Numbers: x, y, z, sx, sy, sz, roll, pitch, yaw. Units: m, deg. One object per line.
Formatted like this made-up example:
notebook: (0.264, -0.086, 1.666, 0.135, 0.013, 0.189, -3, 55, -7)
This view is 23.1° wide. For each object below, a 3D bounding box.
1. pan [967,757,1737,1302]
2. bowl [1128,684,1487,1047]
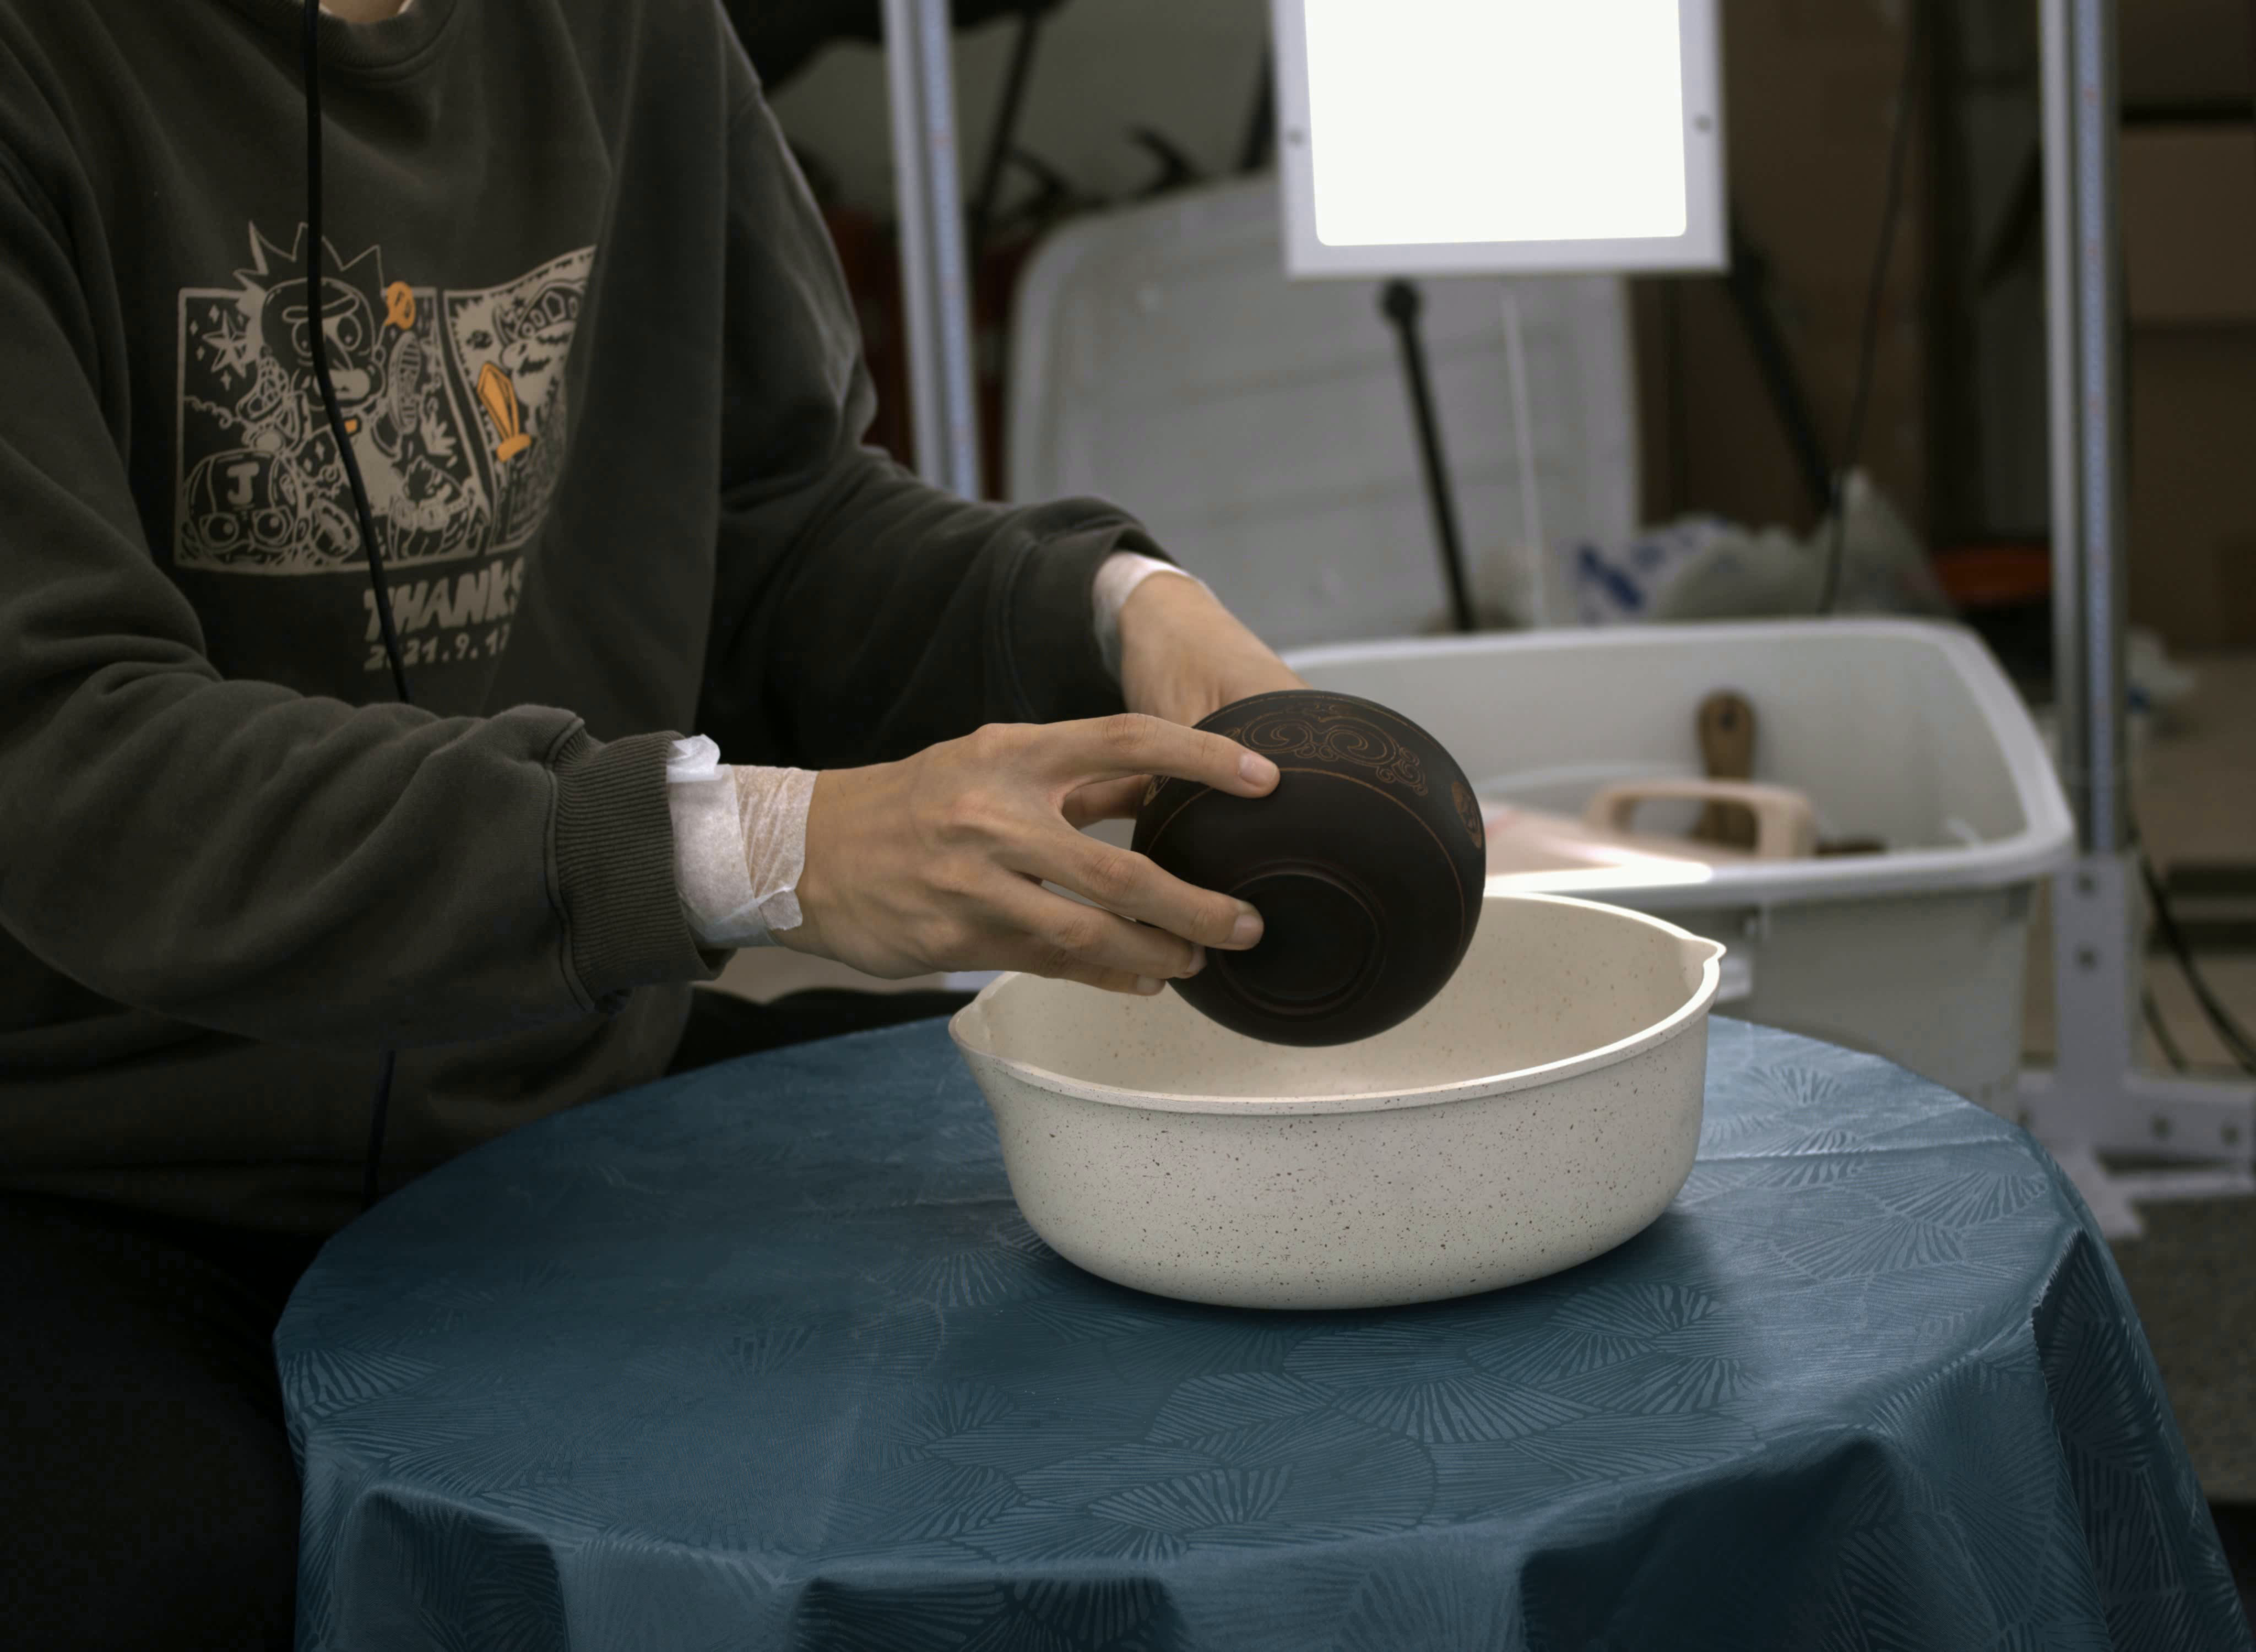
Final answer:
pan: (0.066, 0.063, 1.923, 0.261, 0.102, 0.436, -8, 14, -6)
bowl: (0.057, 0.021, 1.776, 0.118, 0.118, 0.069, -2, 30, 10)
